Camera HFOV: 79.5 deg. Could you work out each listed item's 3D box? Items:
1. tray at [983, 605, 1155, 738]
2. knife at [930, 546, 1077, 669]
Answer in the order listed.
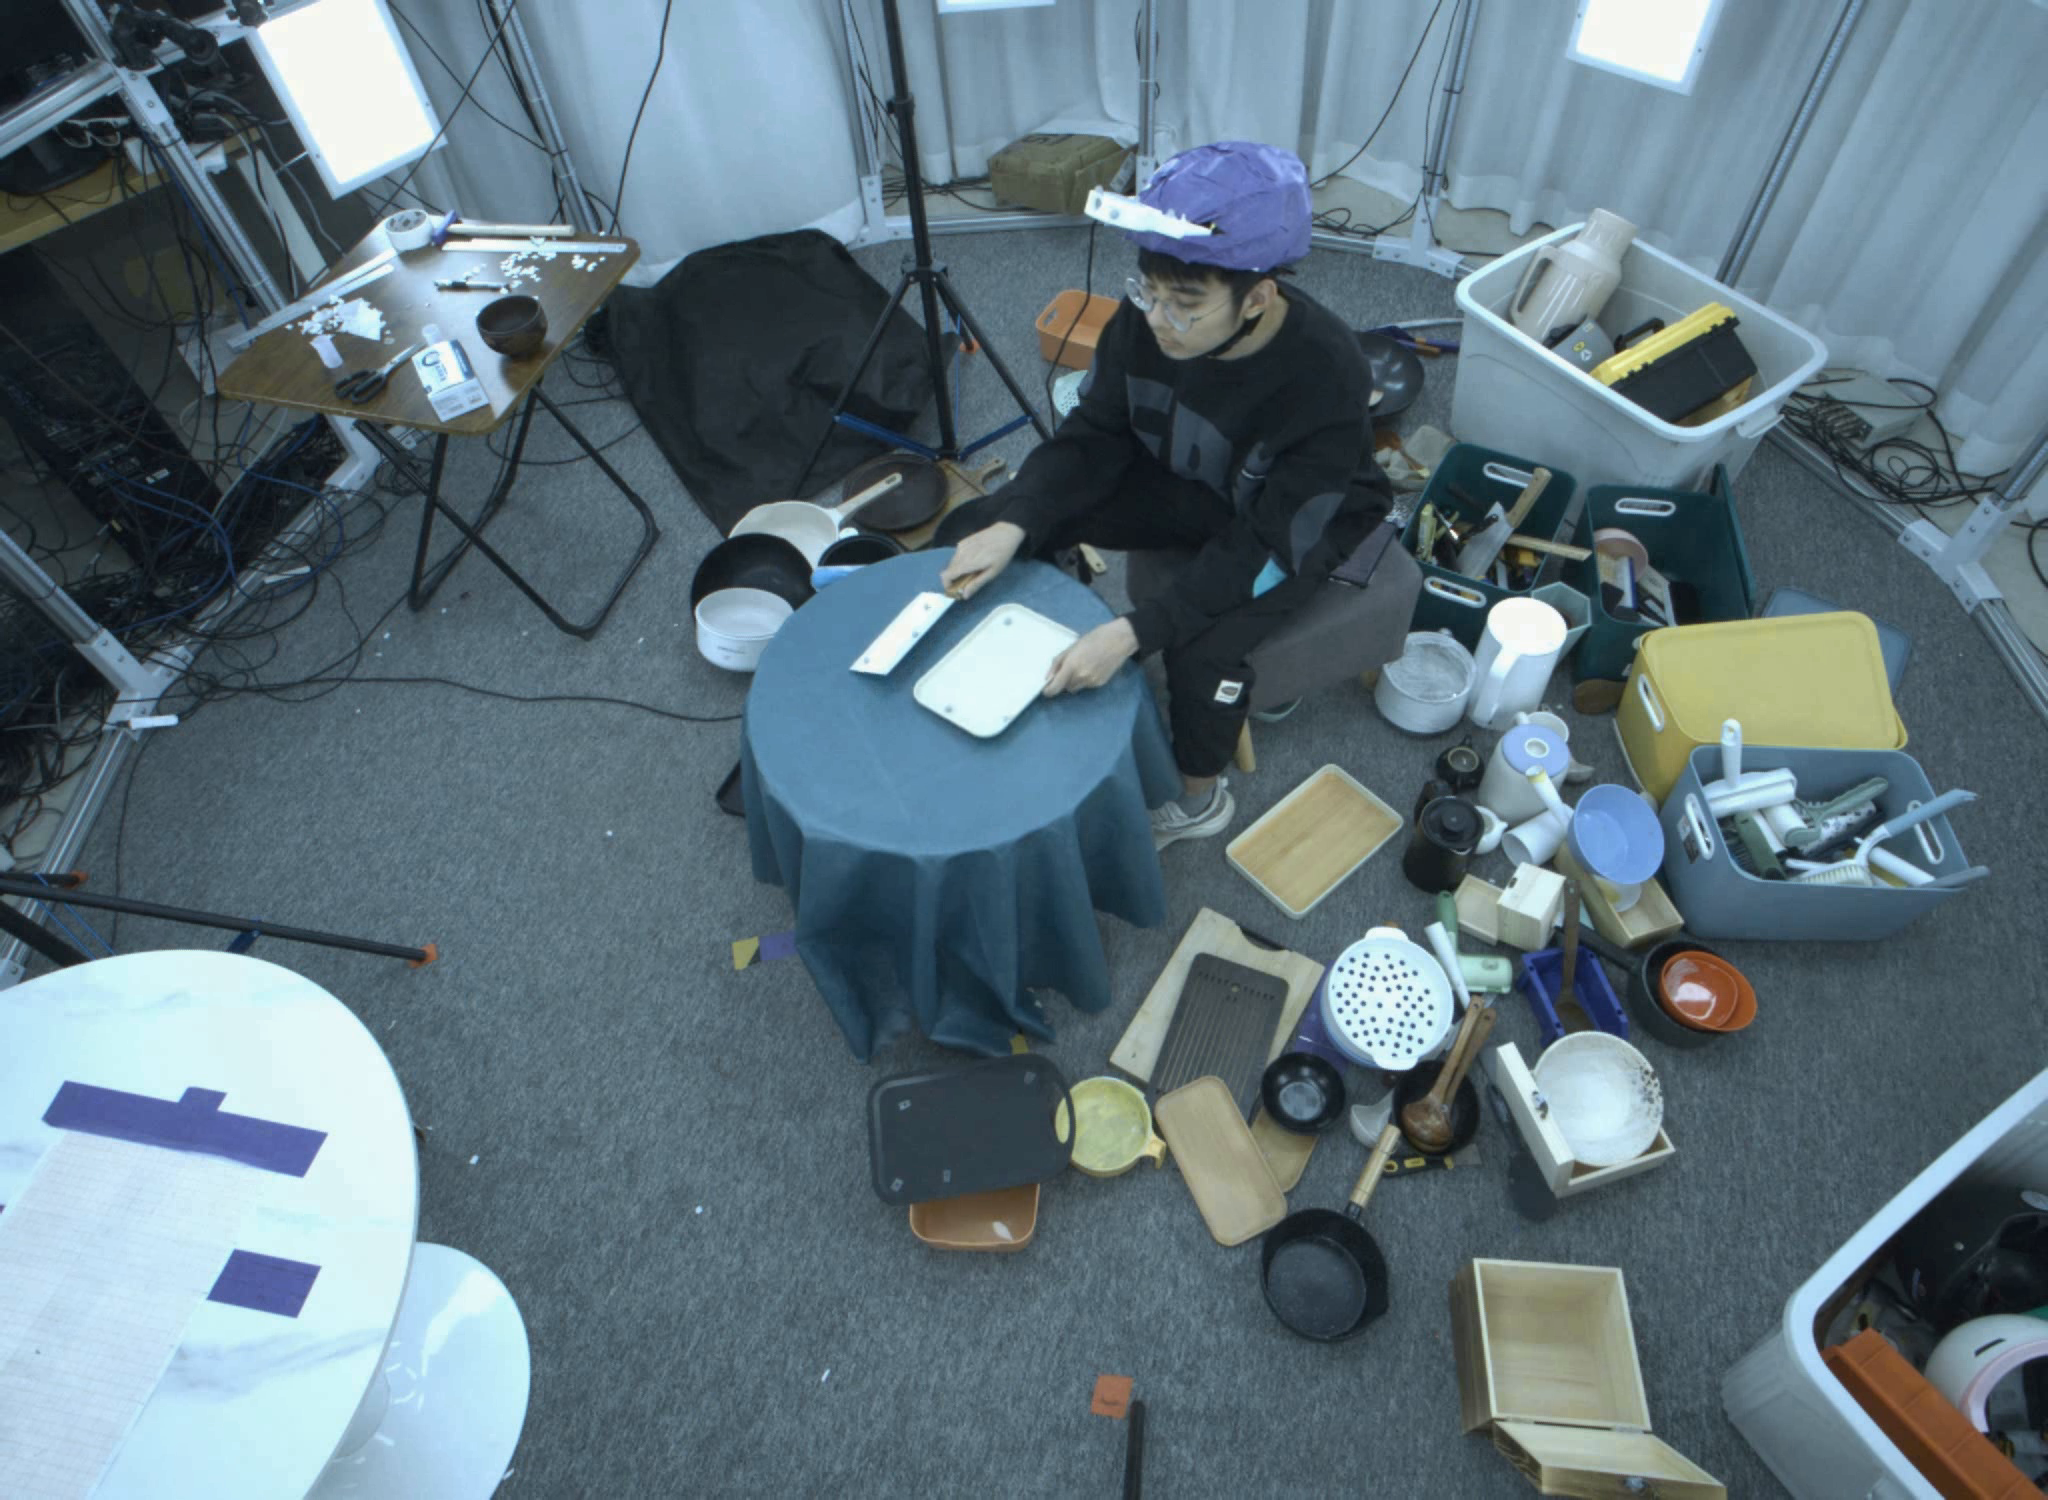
[{"bbox_3d":[0.069,-0.119,1.849,0.168,0.018,0.241,35,63,30],"label":"tray"},{"bbox_3d":[-0.036,-0.228,1.926,0.091,0.021,0.307,16,53,42],"label":"knife"}]
